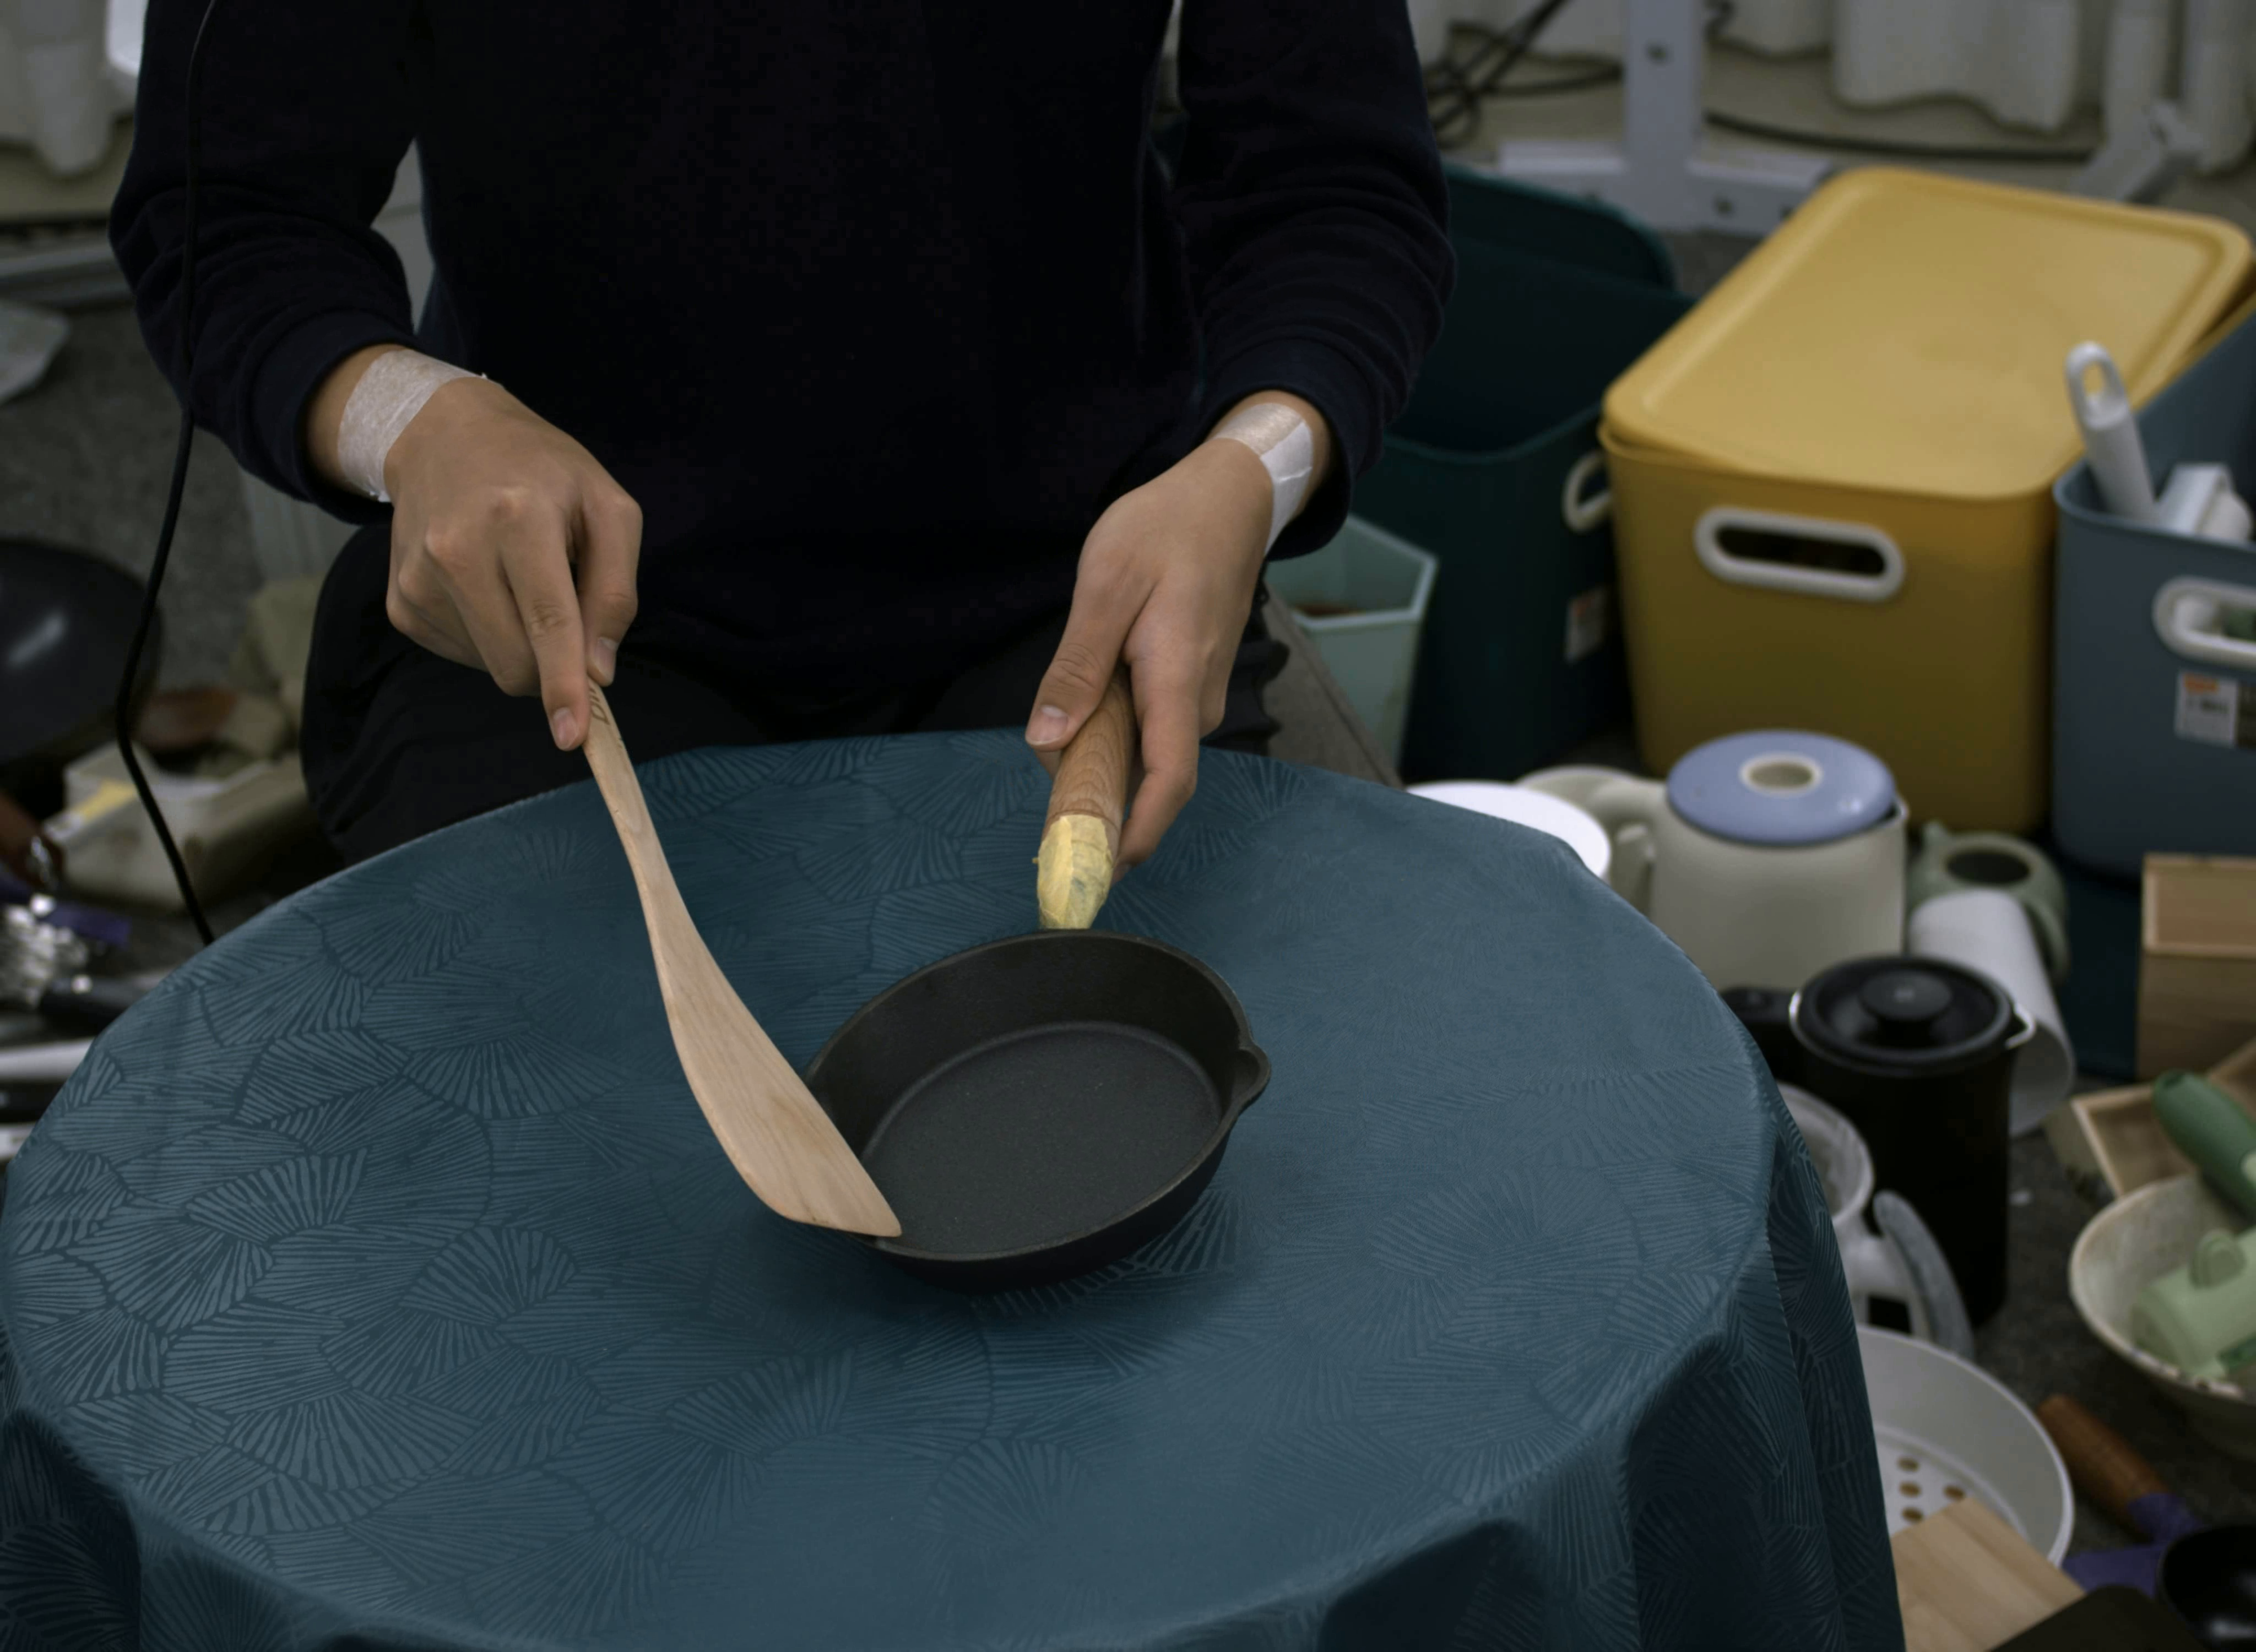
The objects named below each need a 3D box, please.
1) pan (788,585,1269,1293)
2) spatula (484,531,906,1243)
[{"bbox_3d":[-0.020,0.036,1.905,0.167,0.049,0.331,-4,40,16],"label":"pan"},{"bbox_3d":[-0.153,0.017,1.872,0.079,0.016,0.332,28,28,-49],"label":"spatula"}]
